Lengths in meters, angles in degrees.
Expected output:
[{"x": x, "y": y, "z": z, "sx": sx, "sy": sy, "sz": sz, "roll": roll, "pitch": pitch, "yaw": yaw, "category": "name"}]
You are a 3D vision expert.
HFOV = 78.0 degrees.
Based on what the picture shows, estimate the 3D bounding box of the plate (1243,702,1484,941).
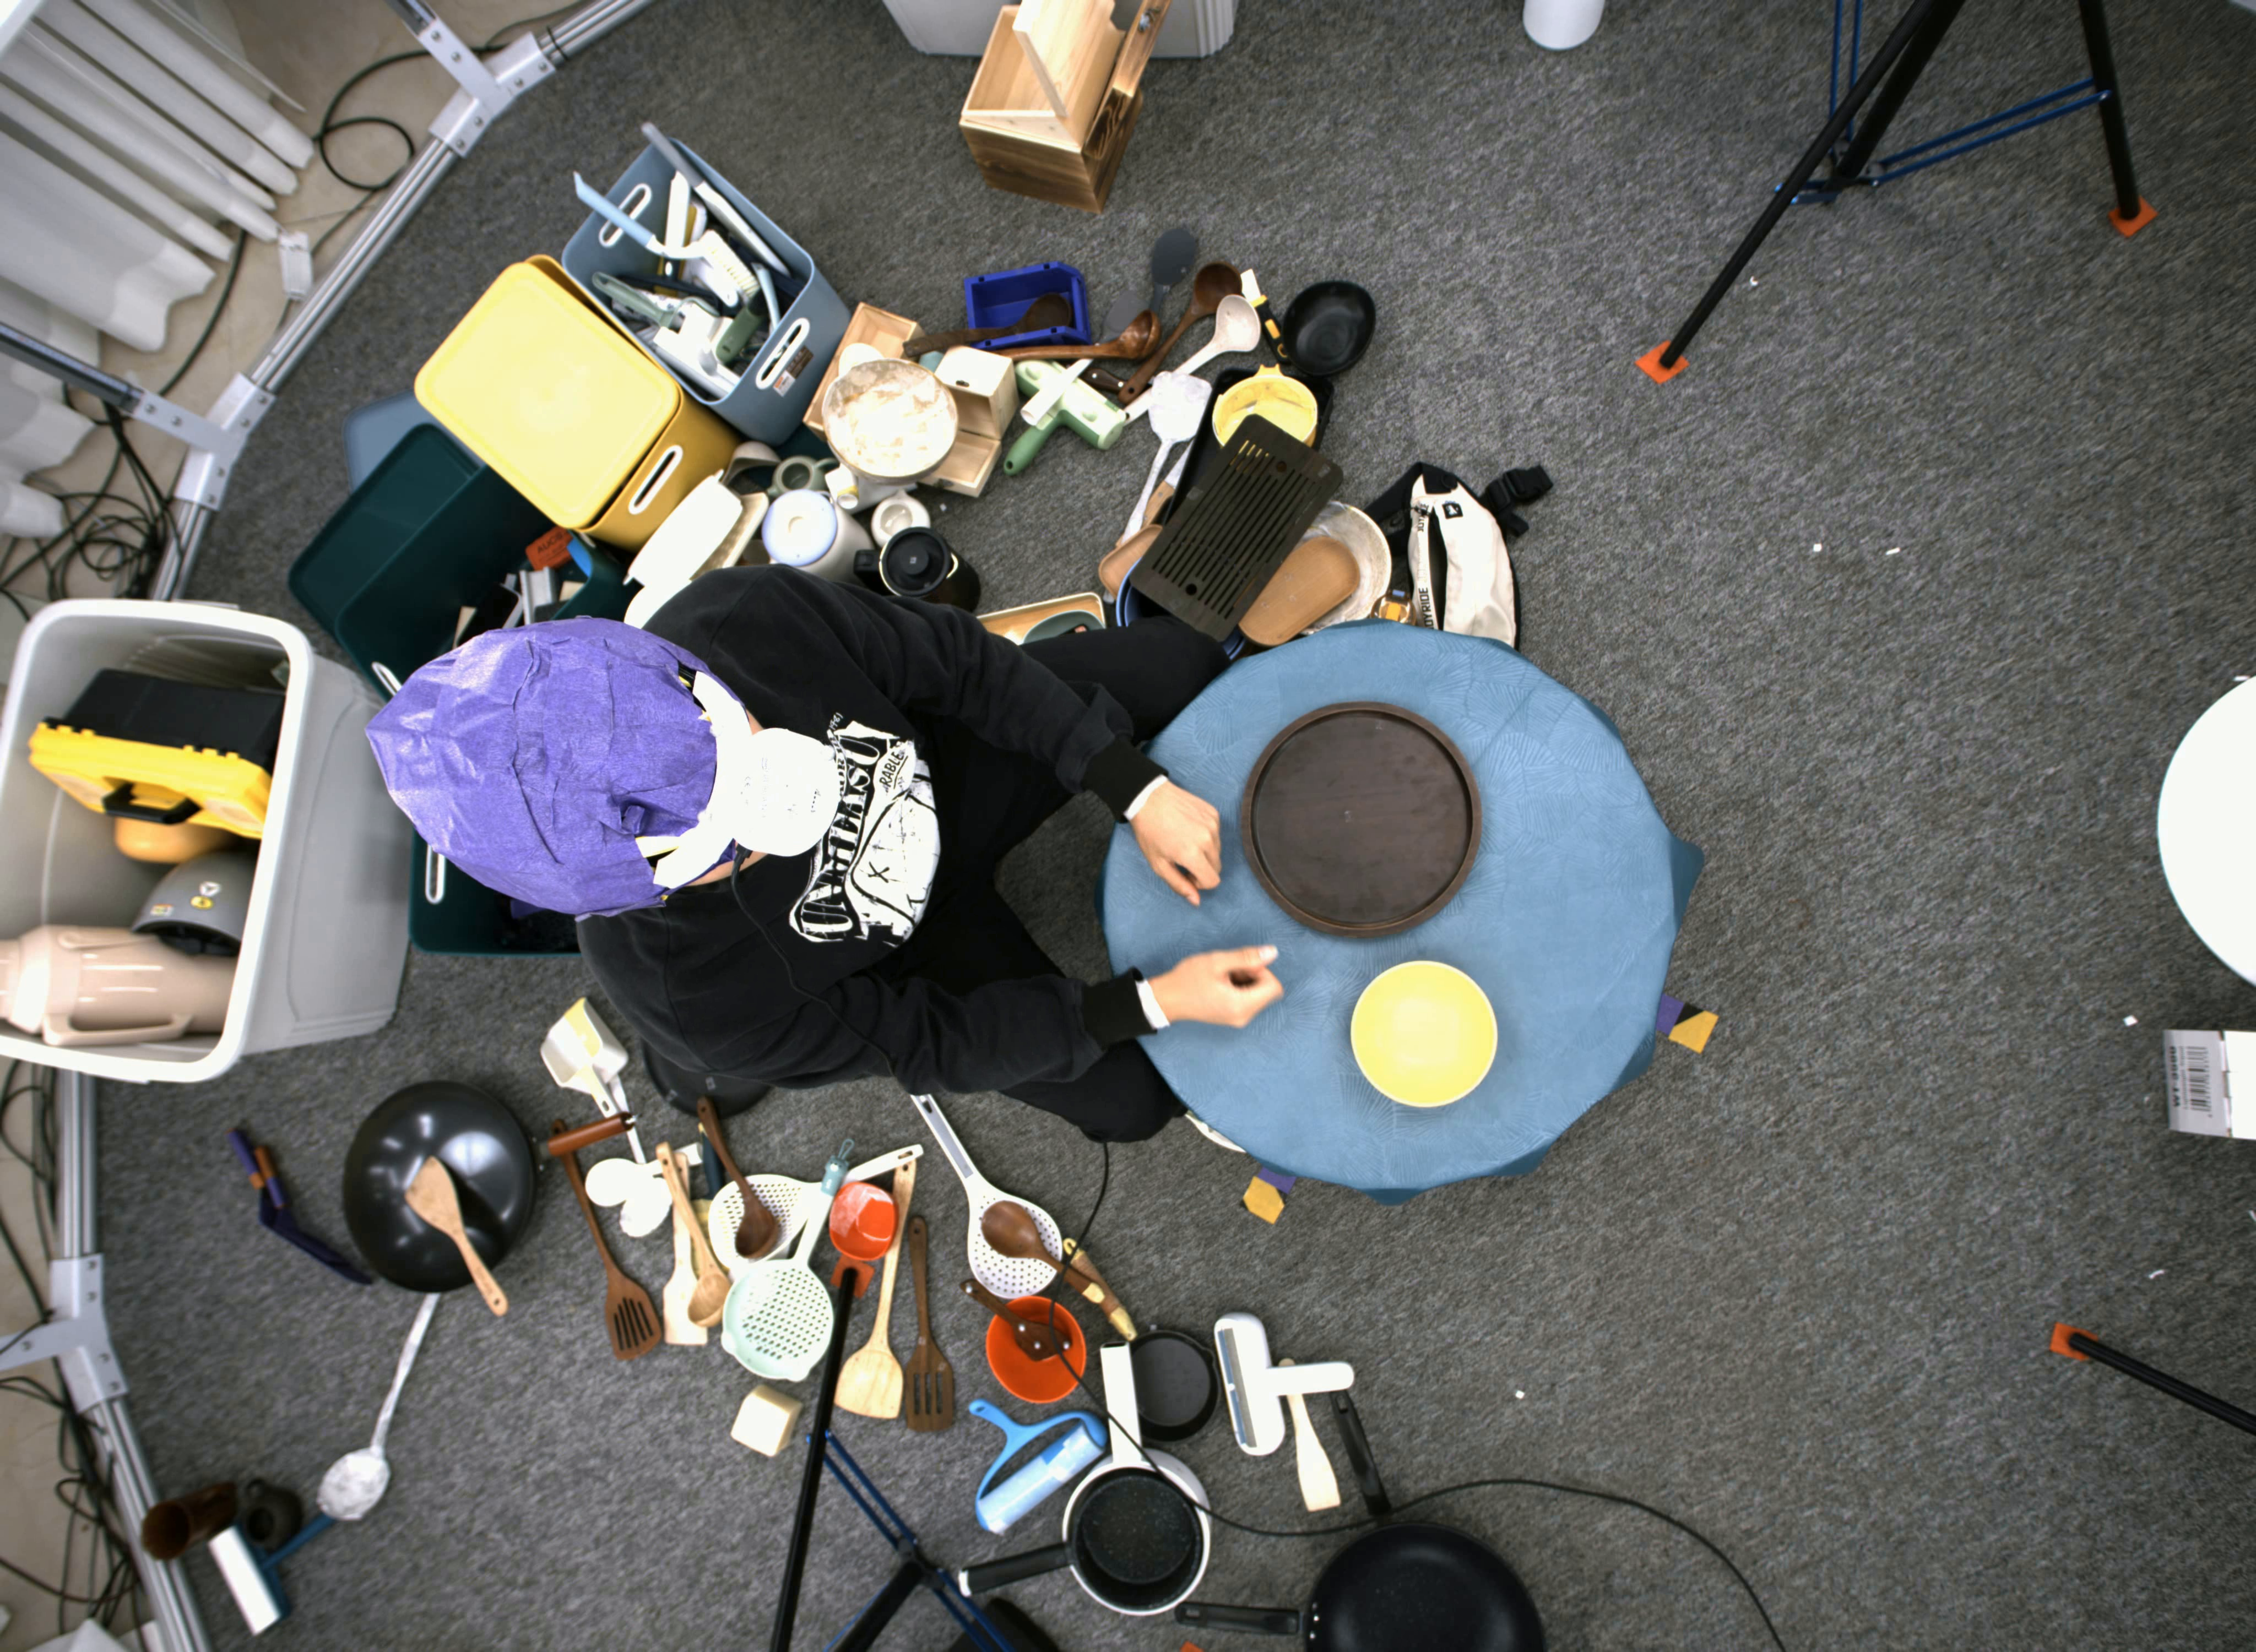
[{"x": 0.248, "y": -0.005, "z": 1.463, "sx": 0.256, "sy": 0.029, "sz": 0.254, "roll": -1, "pitch": 87, "yaw": 11, "category": "plate"}]

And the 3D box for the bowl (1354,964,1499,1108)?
[{"x": 0.306, "y": 0.214, "z": 1.420, "sx": 0.146, "sy": 0.060, "sz": 0.144, "roll": -1, "pitch": 84, "yaw": 12, "category": "bowl"}]
